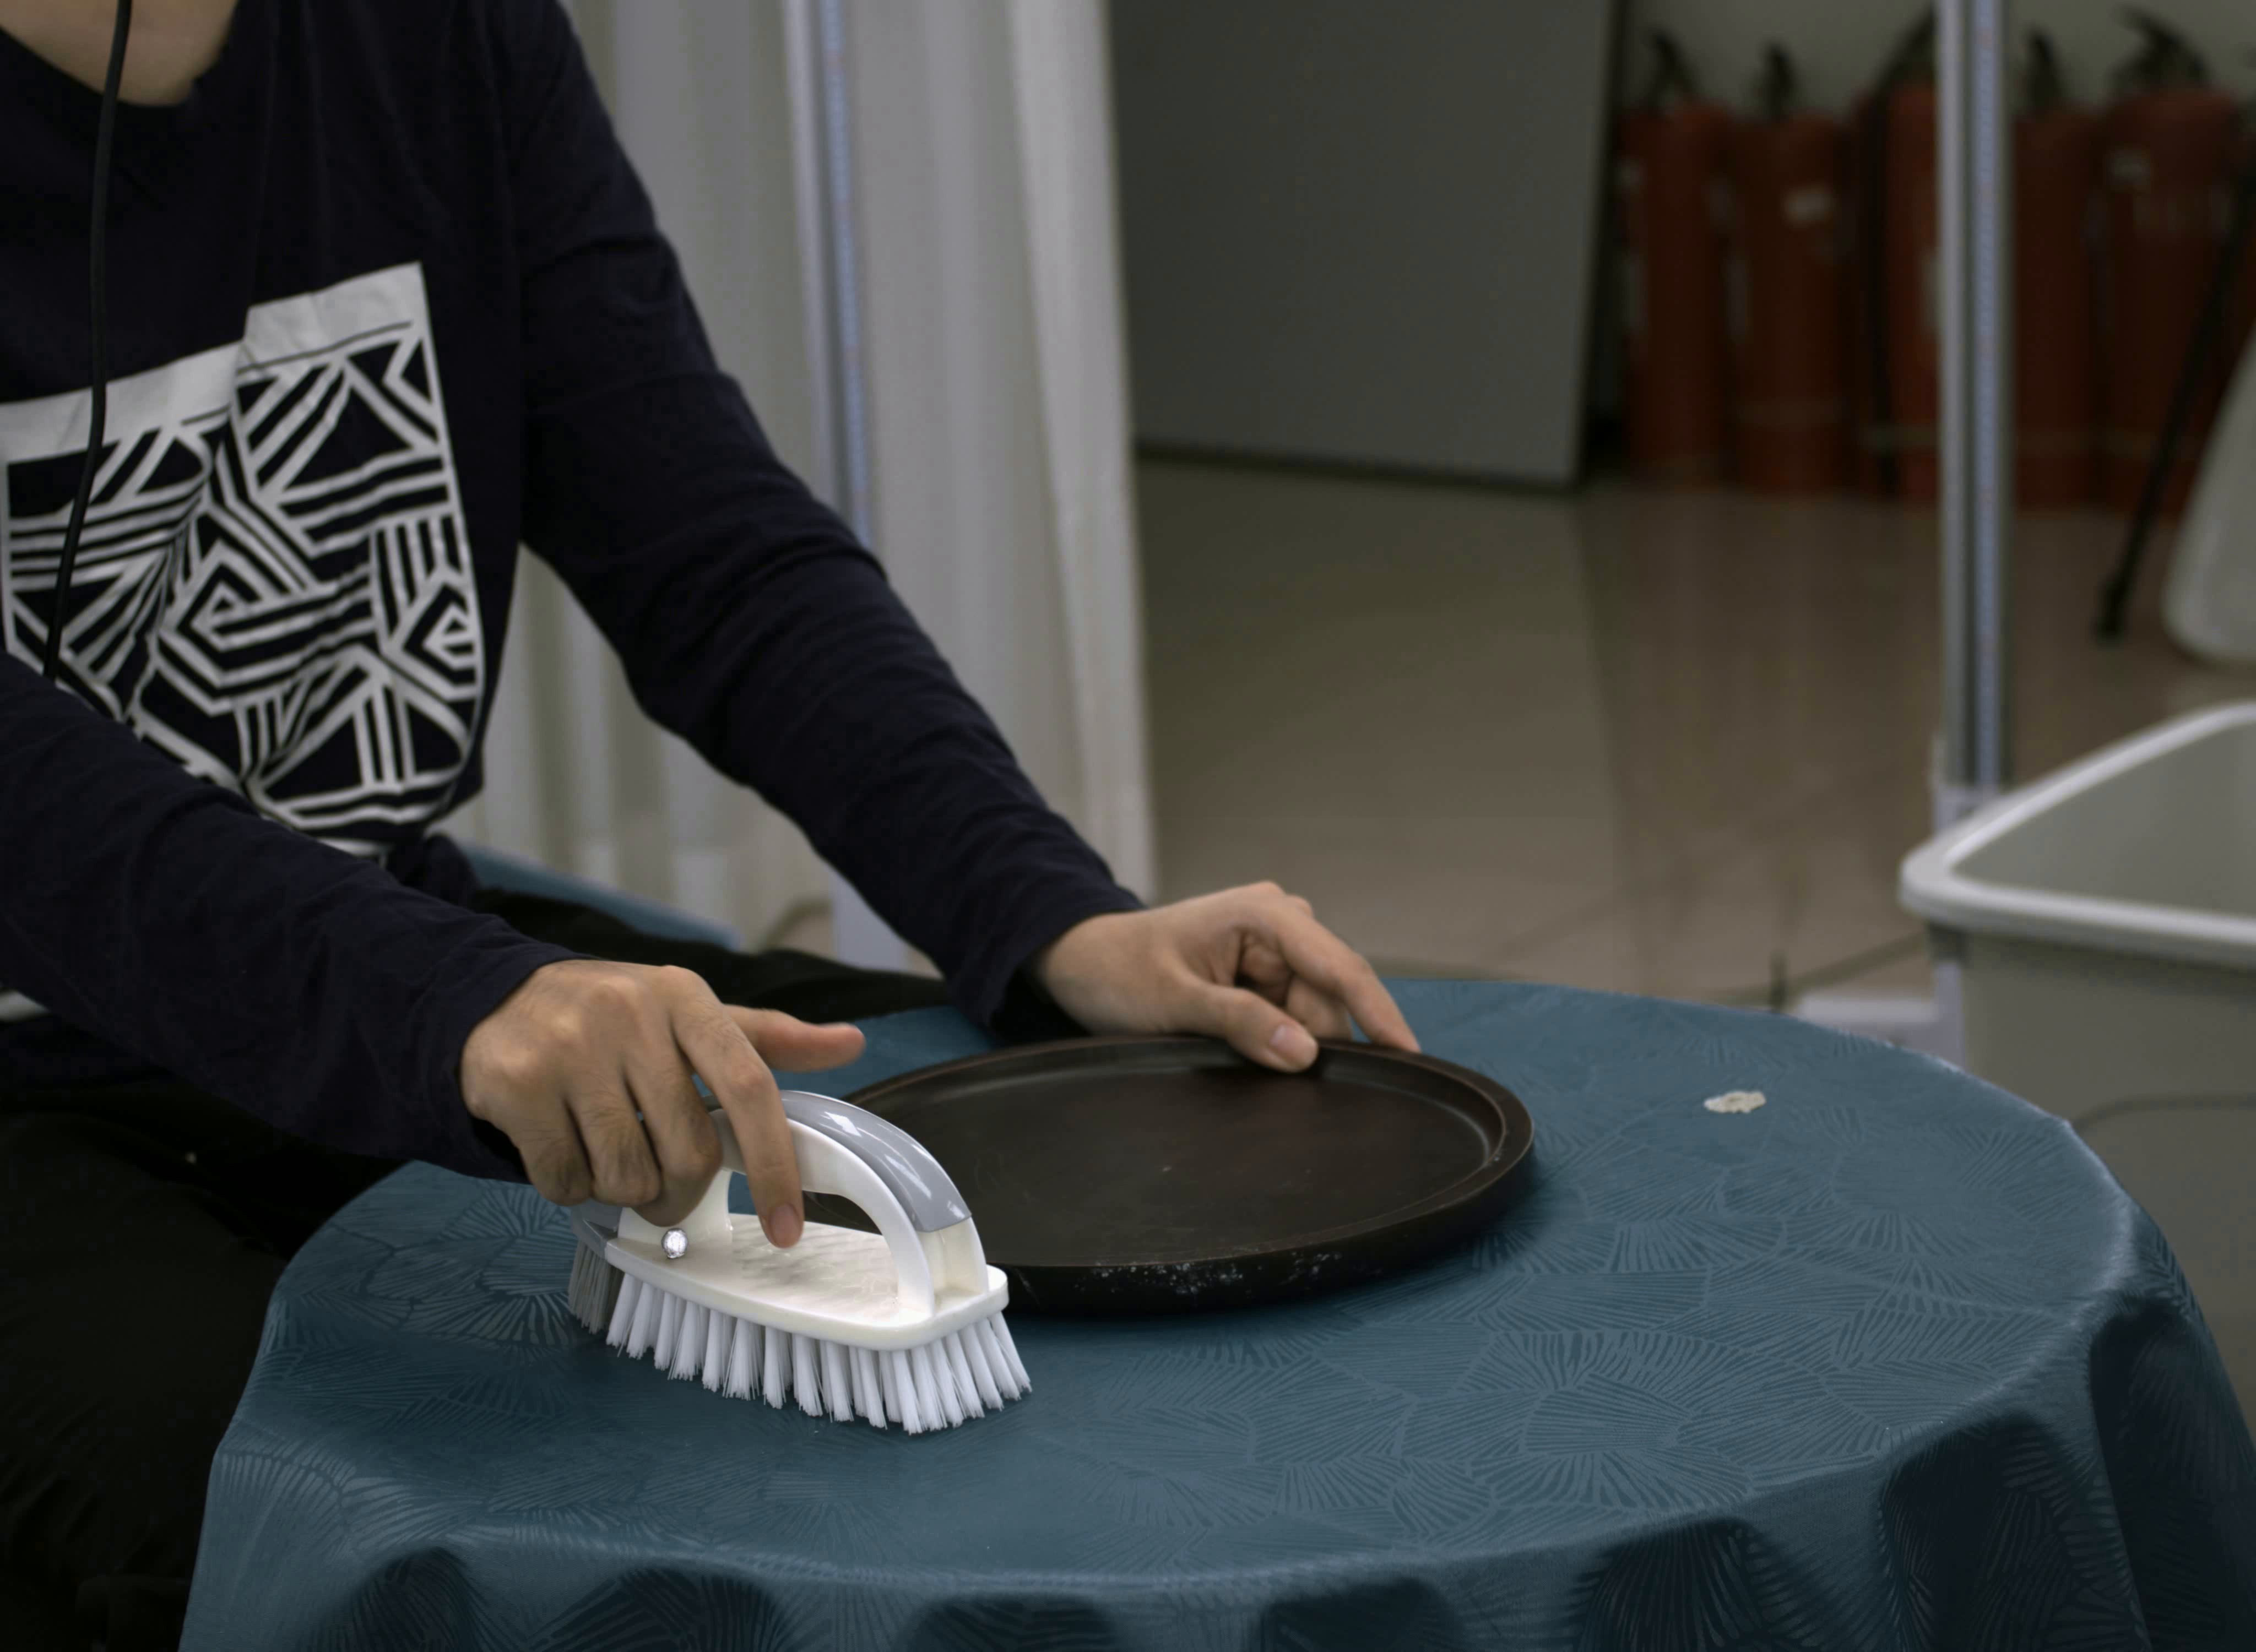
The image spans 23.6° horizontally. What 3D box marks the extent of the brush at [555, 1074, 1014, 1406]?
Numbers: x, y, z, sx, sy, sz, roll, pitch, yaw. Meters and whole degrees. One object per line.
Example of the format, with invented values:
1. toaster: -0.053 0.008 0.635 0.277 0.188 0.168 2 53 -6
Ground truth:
1. brush: -0.113 0.120 1.618 0.177 0.095 0.060 5 13 42

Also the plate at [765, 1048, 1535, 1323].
1. plate: 0.007 0.114 1.757 0.251 0.029 0.255 -3 14 0
